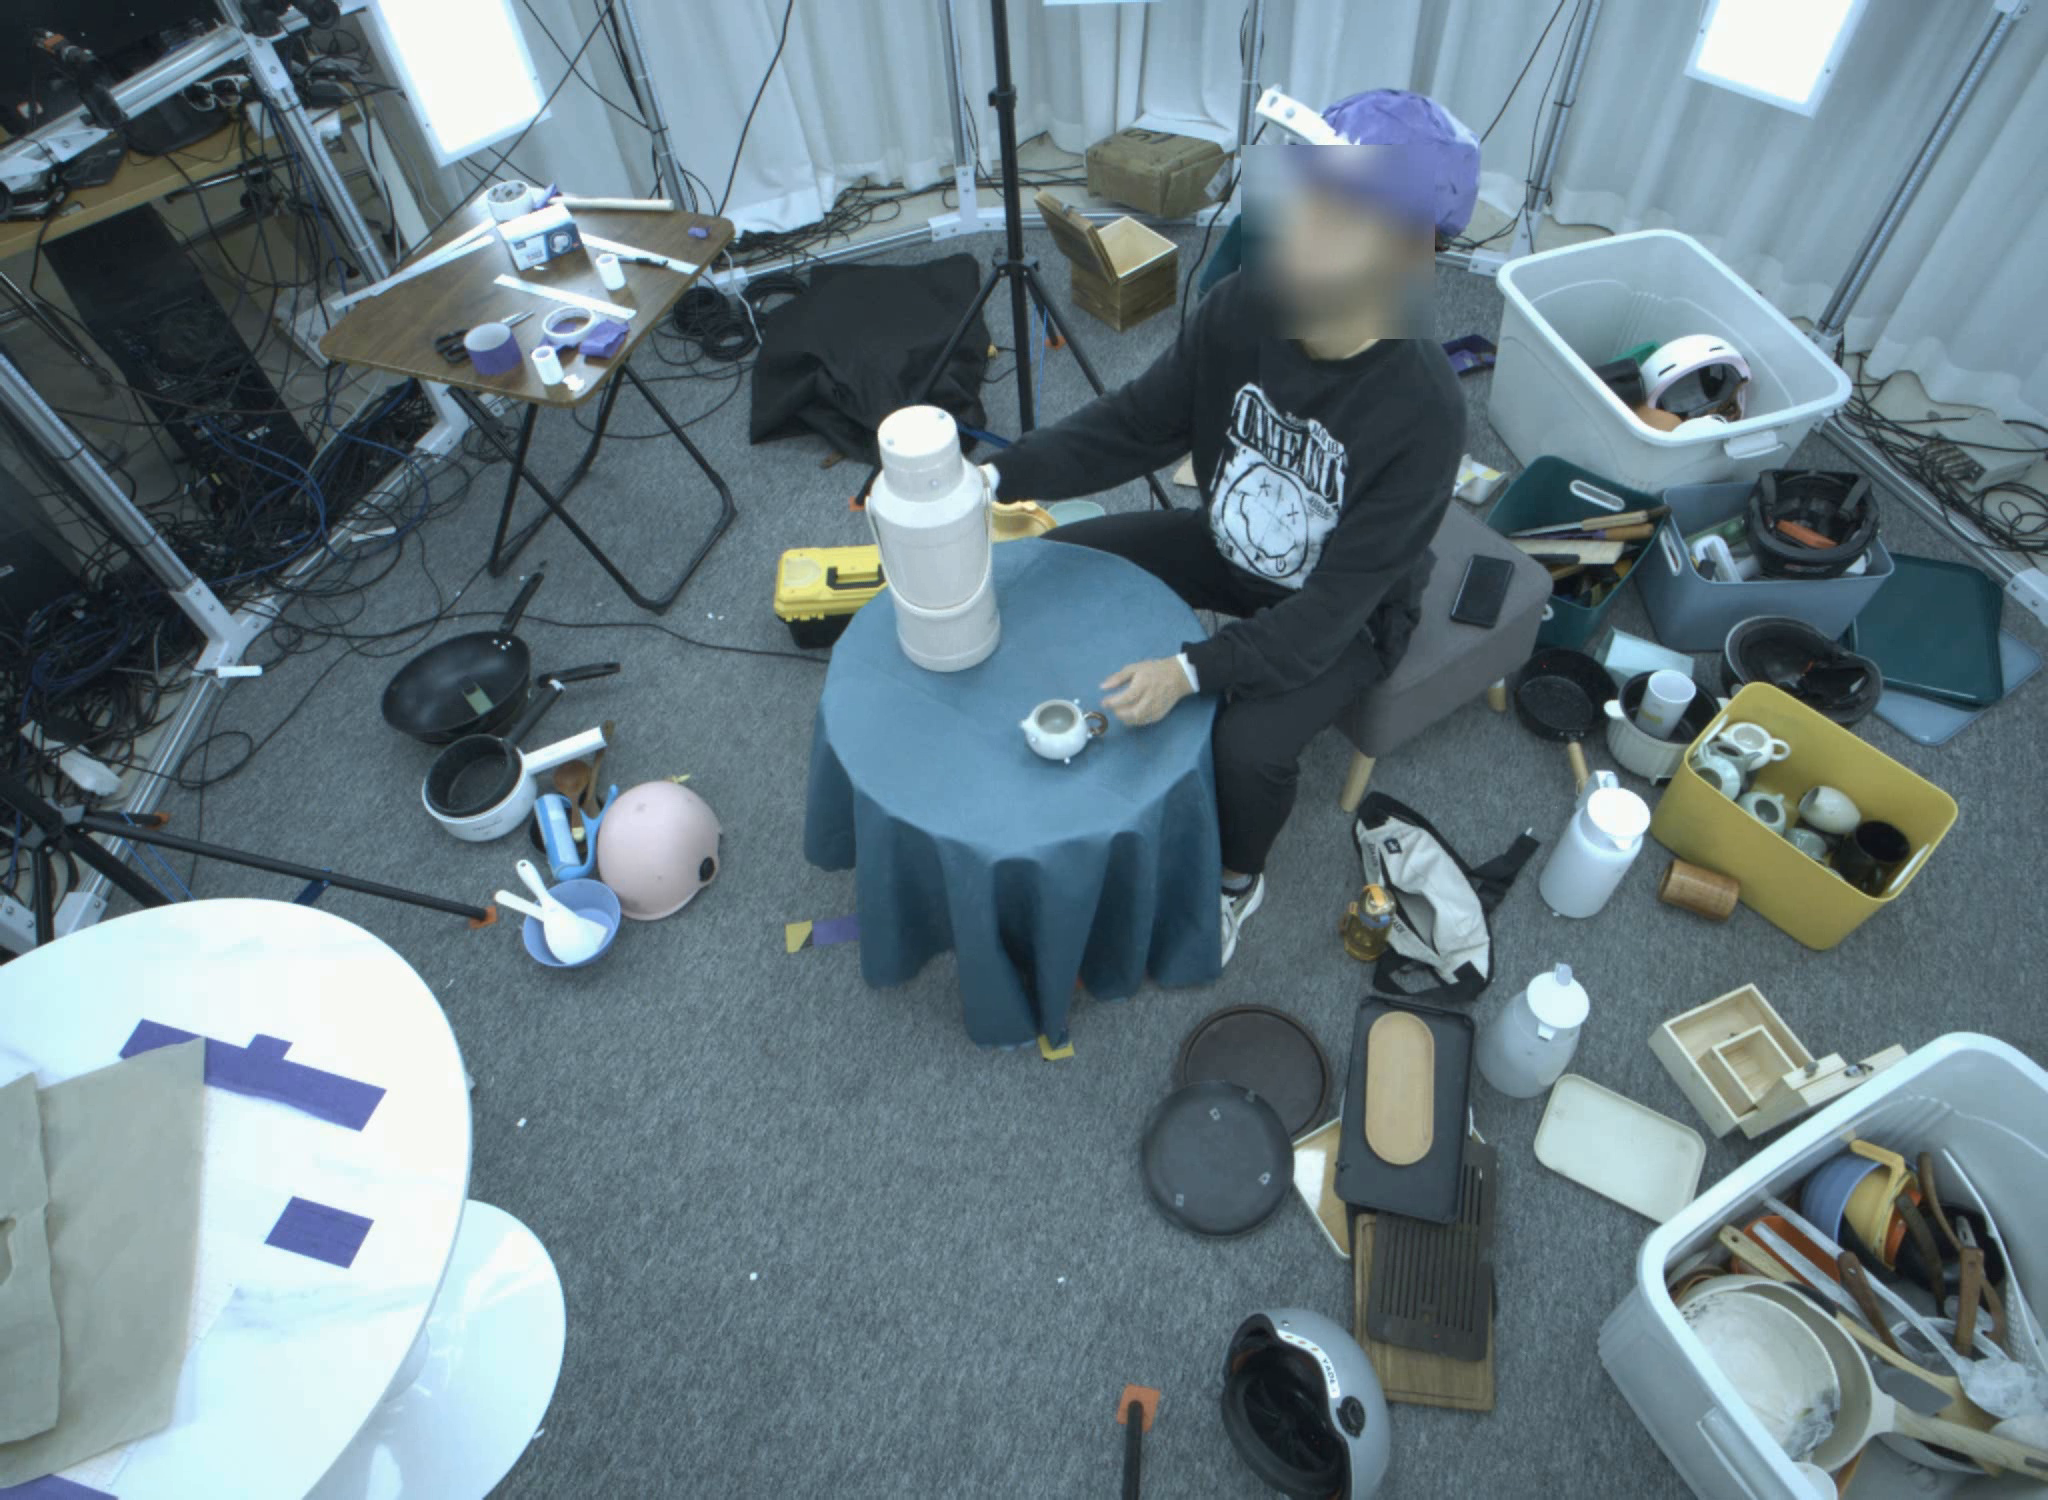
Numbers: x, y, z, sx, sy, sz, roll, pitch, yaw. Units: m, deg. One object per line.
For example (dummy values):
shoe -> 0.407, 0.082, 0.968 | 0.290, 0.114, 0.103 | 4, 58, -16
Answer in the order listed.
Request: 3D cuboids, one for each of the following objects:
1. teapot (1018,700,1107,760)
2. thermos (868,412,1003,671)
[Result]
teapot -> 0.056, -0.030, 1.766 | 0.128, 0.060, 0.090 | -10, 51, -4
thermos -> -0.126, -0.312, 1.765 | 0.175, 0.411, 0.204 | -6, 54, 2
